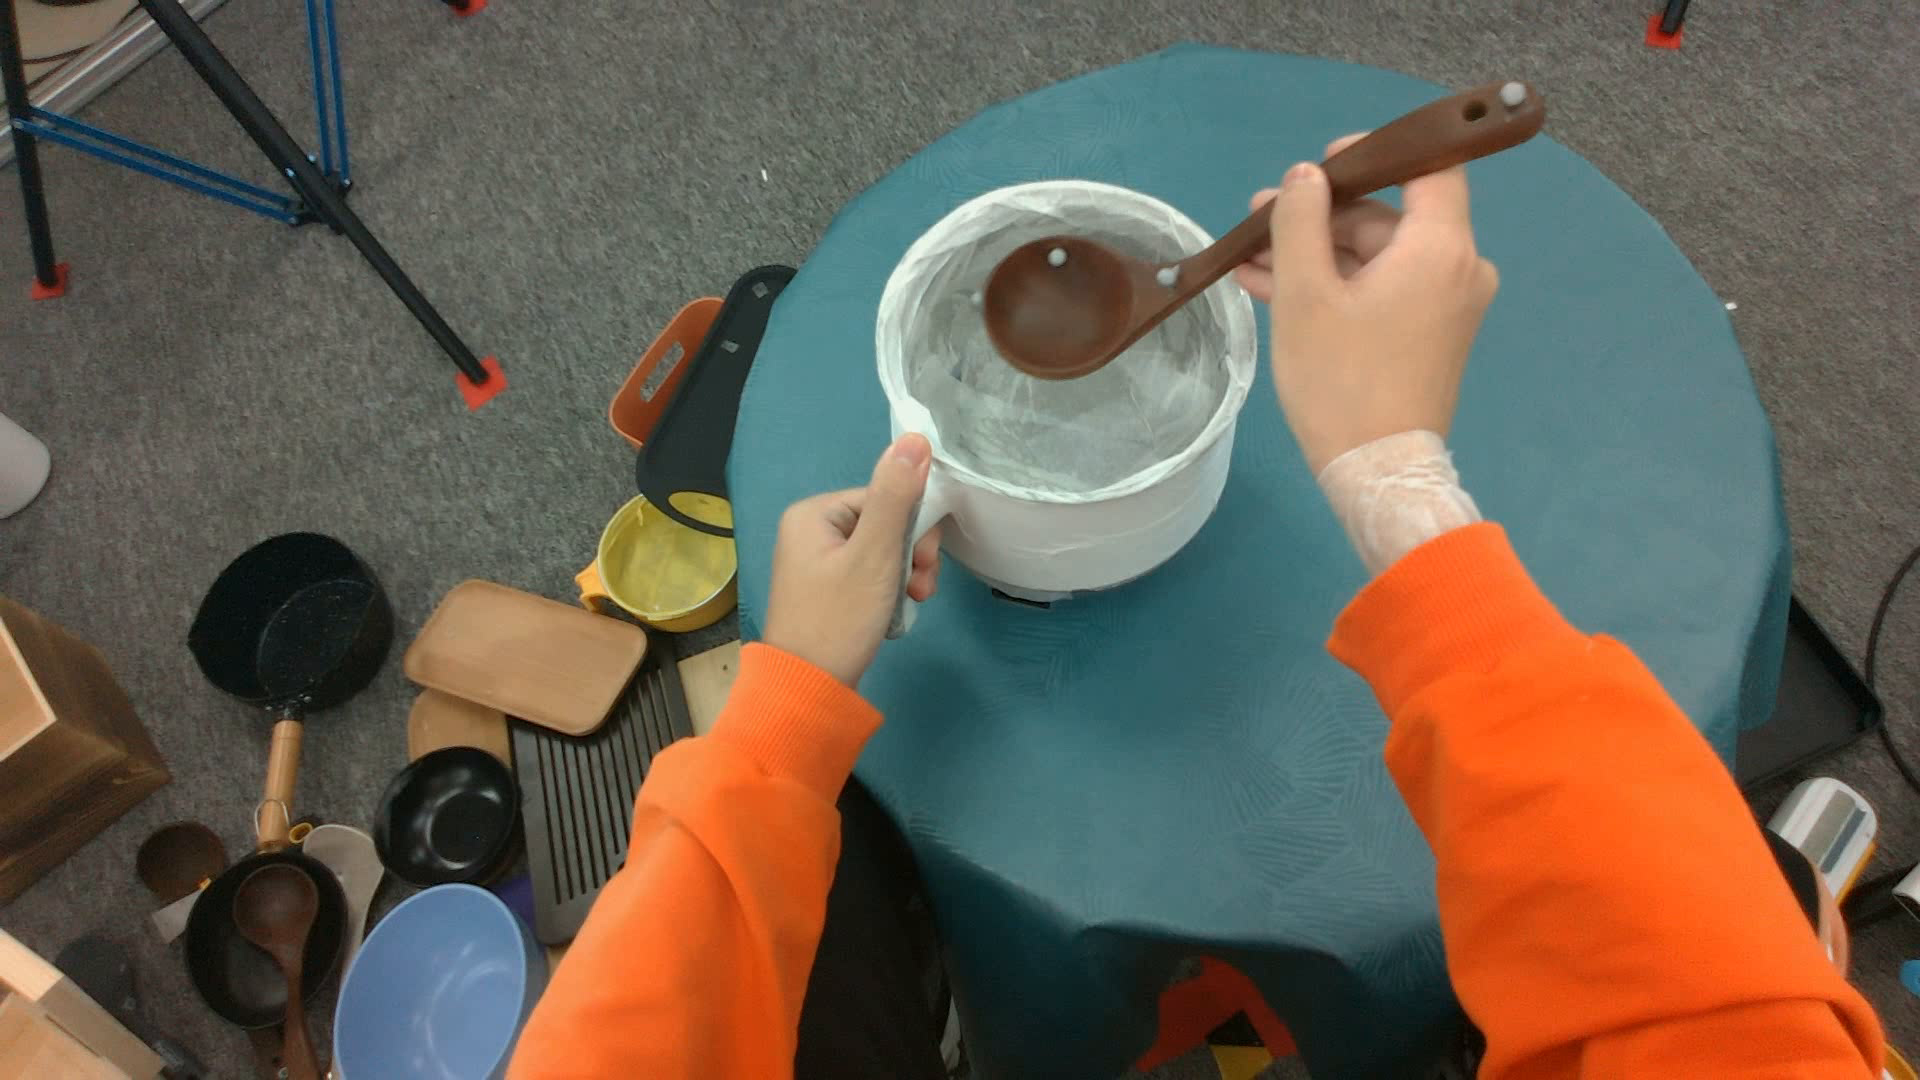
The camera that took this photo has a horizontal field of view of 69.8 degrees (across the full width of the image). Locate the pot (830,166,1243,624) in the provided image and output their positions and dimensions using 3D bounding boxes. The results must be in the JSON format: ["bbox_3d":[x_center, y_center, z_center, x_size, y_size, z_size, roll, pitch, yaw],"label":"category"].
[{"bbox_3d":[0.026,-0.059,0.686,0.179,0.136,0.234,39,72,19],"label":"pot"}]

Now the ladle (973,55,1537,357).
[{"bbox_3d":[0.108,-0.144,0.581,0.259,0.065,0.076,-19,67,47],"label":"ladle"}]
